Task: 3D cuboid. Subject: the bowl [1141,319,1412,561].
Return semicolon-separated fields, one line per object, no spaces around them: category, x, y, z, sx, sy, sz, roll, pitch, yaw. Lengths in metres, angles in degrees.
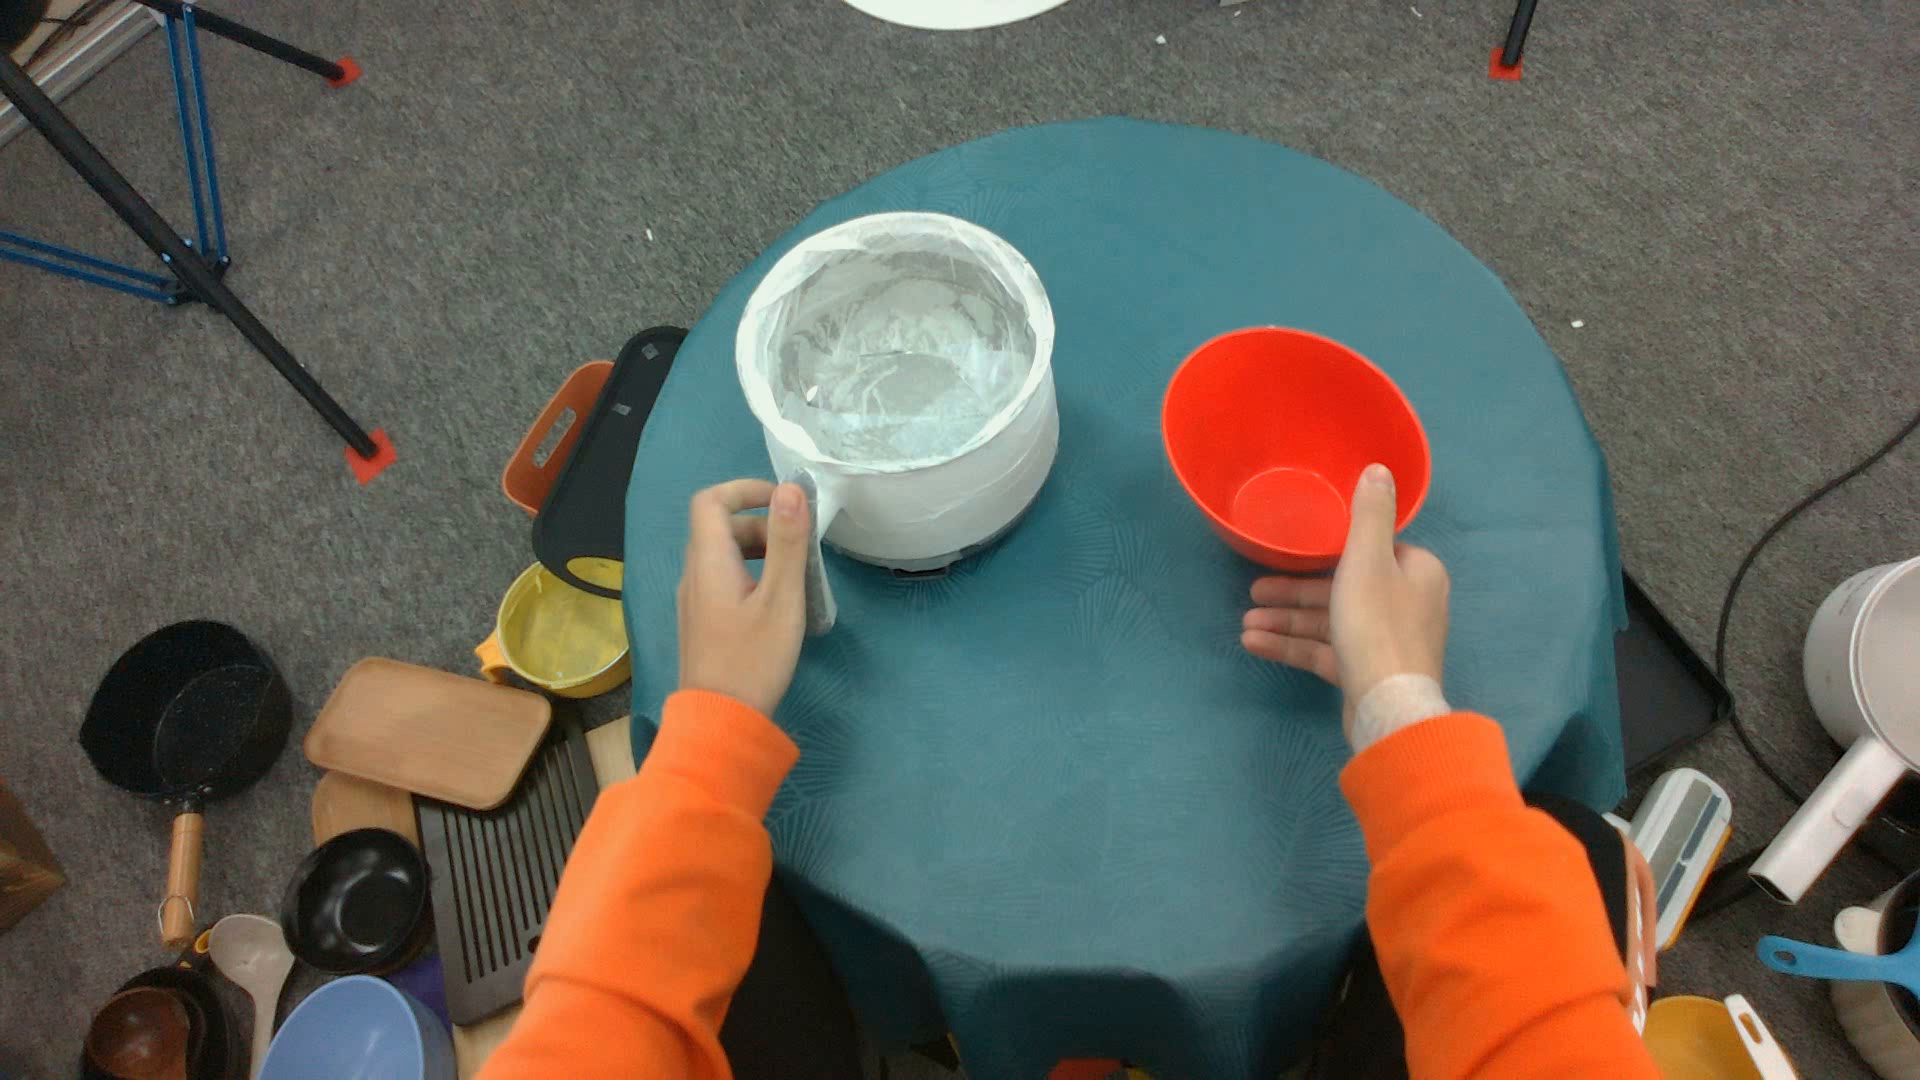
bowl;0.180;-0.044;0.795;0.148;0.104;0.148;-3;65;7

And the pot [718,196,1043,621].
pot;-0.053;-0.069;0.801;0.178;0.136;0.234;21;66;16
